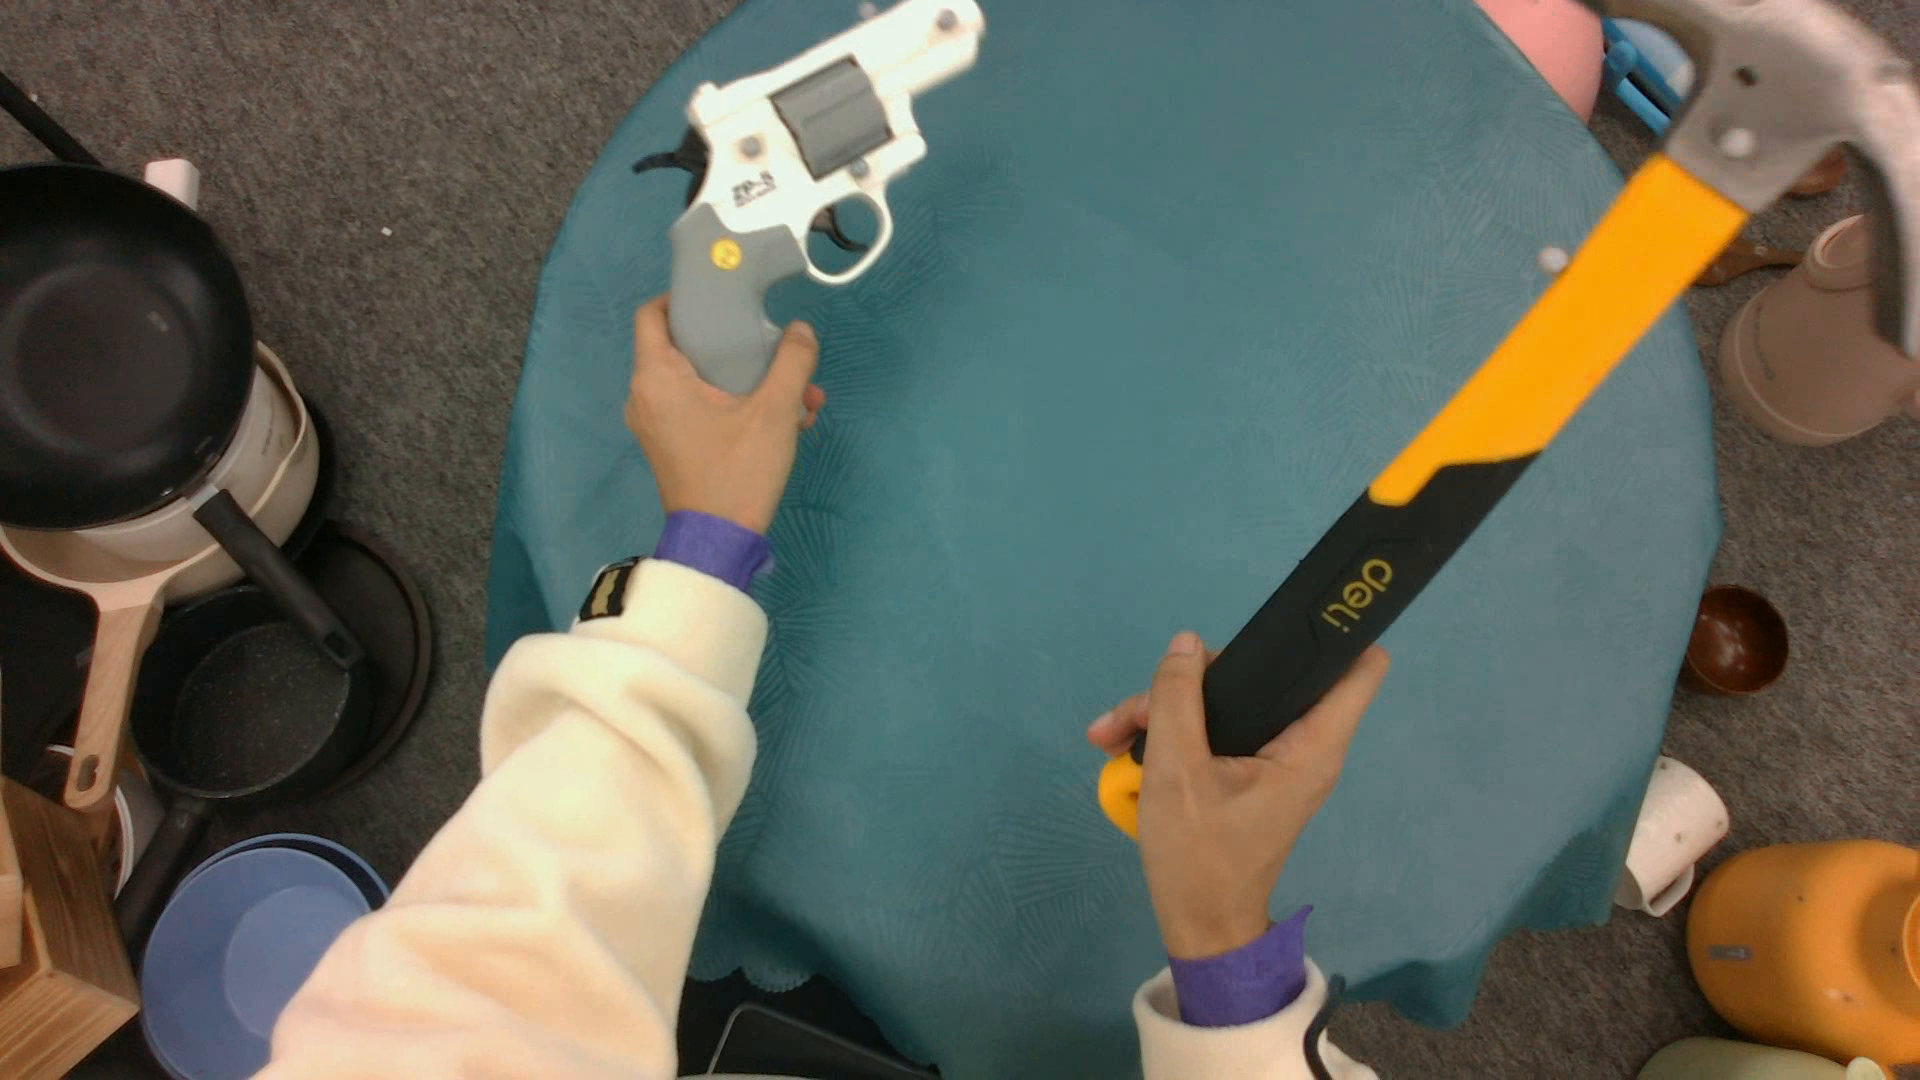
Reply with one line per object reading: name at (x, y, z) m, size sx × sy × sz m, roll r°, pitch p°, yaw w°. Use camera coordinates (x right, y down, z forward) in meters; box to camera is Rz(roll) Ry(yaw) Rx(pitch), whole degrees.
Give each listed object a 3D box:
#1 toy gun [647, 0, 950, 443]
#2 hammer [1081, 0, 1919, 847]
toy gun at (-0.065, -0.150, 0.603) m, size 0.209 × 0.039 × 0.141 m, roll -37°, pitch 102°, yaw -14°
hammer at (0.140, -0.016, 0.432) m, size 0.131 × 0.032 × 0.337 m, roll 34°, pitch 120°, yaw 0°
